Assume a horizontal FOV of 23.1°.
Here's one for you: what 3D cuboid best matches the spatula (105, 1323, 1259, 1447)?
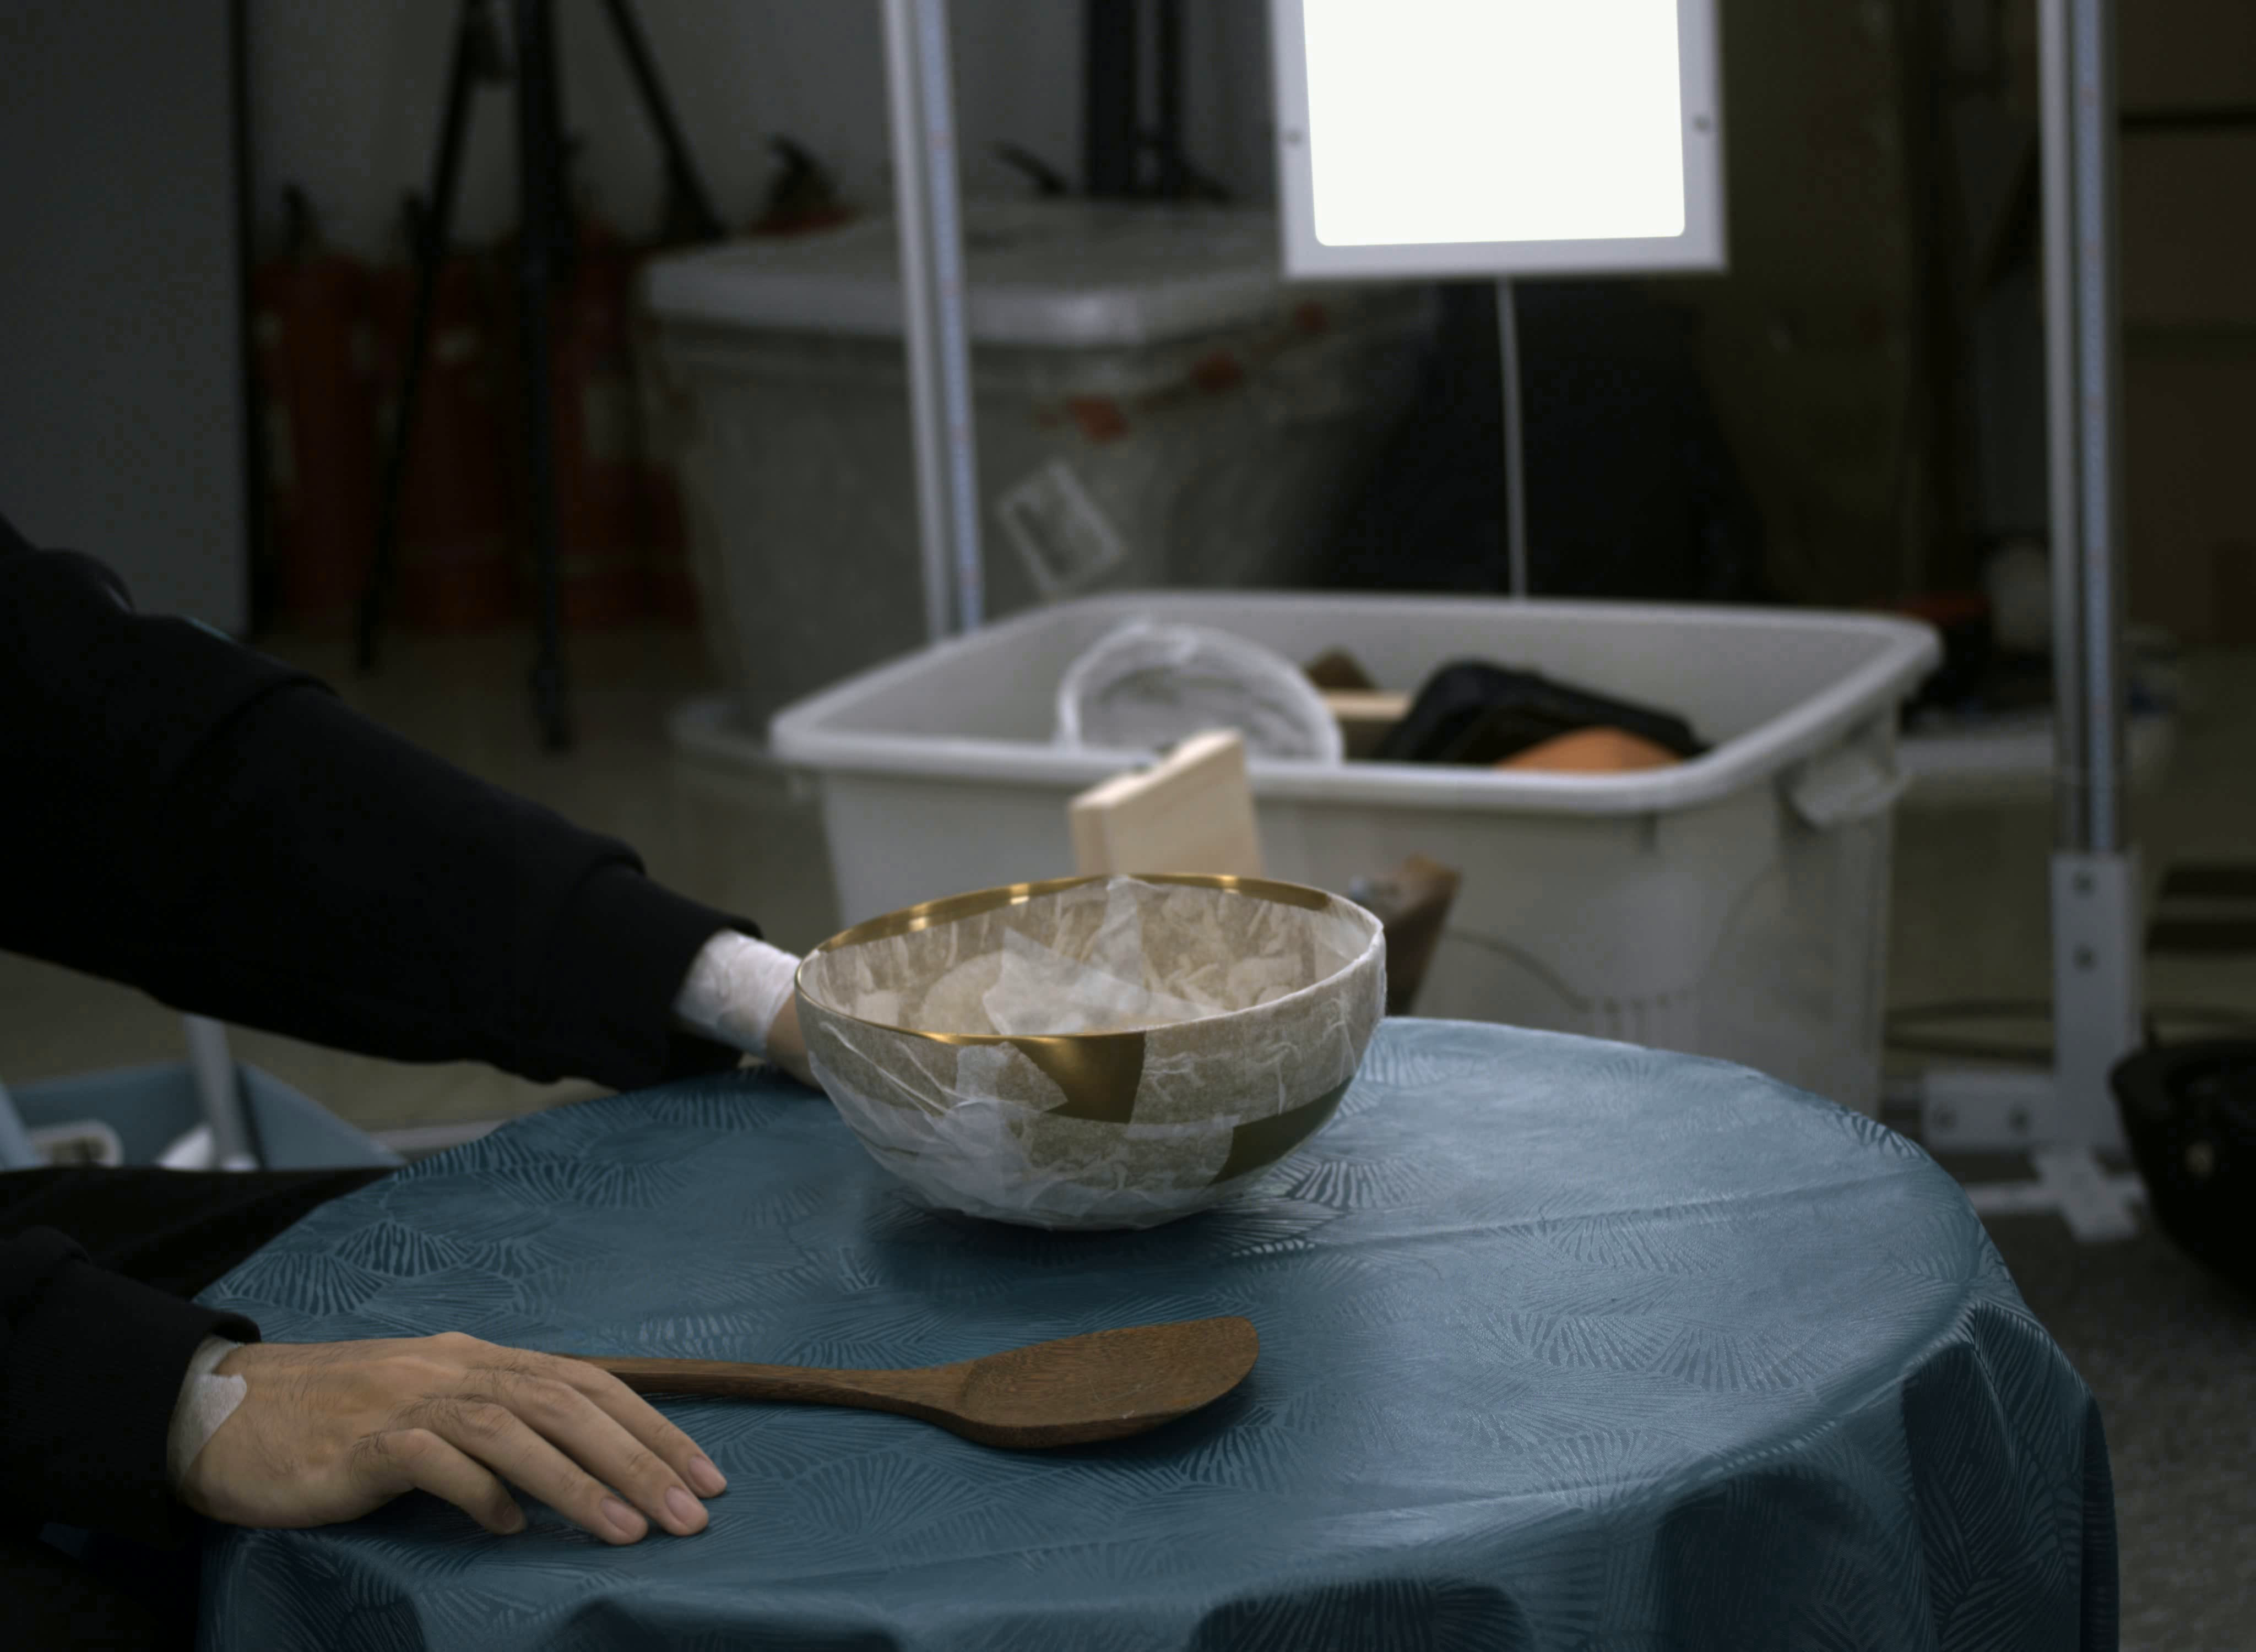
[{"bbox_3d":[-0.147,0.173,1.734,0.390,0.016,0.094,-1,14,19],"label":"spatula"}]

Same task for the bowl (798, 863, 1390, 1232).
[{"bbox_3d":[-0.011,0.083,1.881,0.214,0.095,0.214,-6,15,0],"label":"bowl"}]
